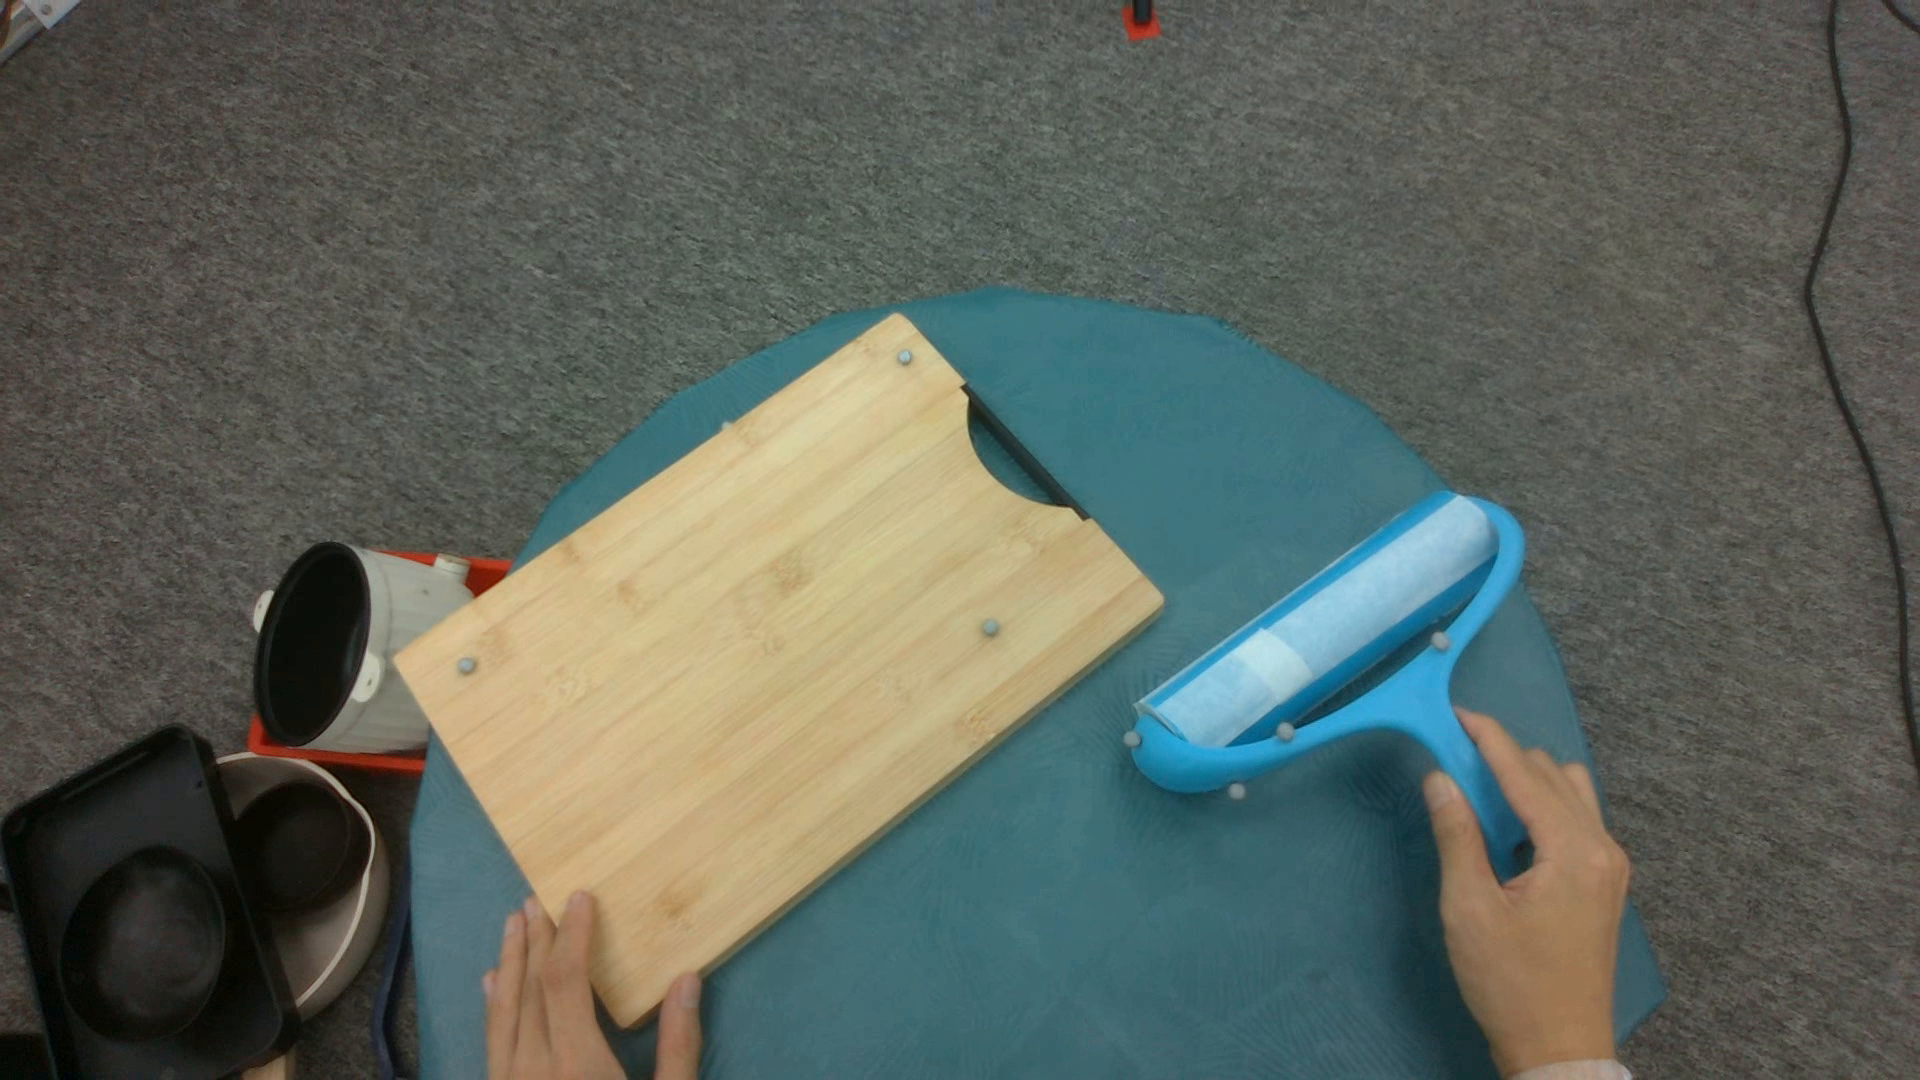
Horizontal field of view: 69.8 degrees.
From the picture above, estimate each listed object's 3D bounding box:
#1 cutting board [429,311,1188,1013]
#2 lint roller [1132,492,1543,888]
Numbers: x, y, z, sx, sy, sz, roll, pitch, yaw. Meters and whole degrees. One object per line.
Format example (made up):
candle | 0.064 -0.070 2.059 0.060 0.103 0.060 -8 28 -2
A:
cutting board | -0.088 0.048 0.753 0.349 0.023 0.251 -37 68 -12
lint roller | 0.218 0.086 0.675 0.229 0.067 0.180 -35 58 -12
